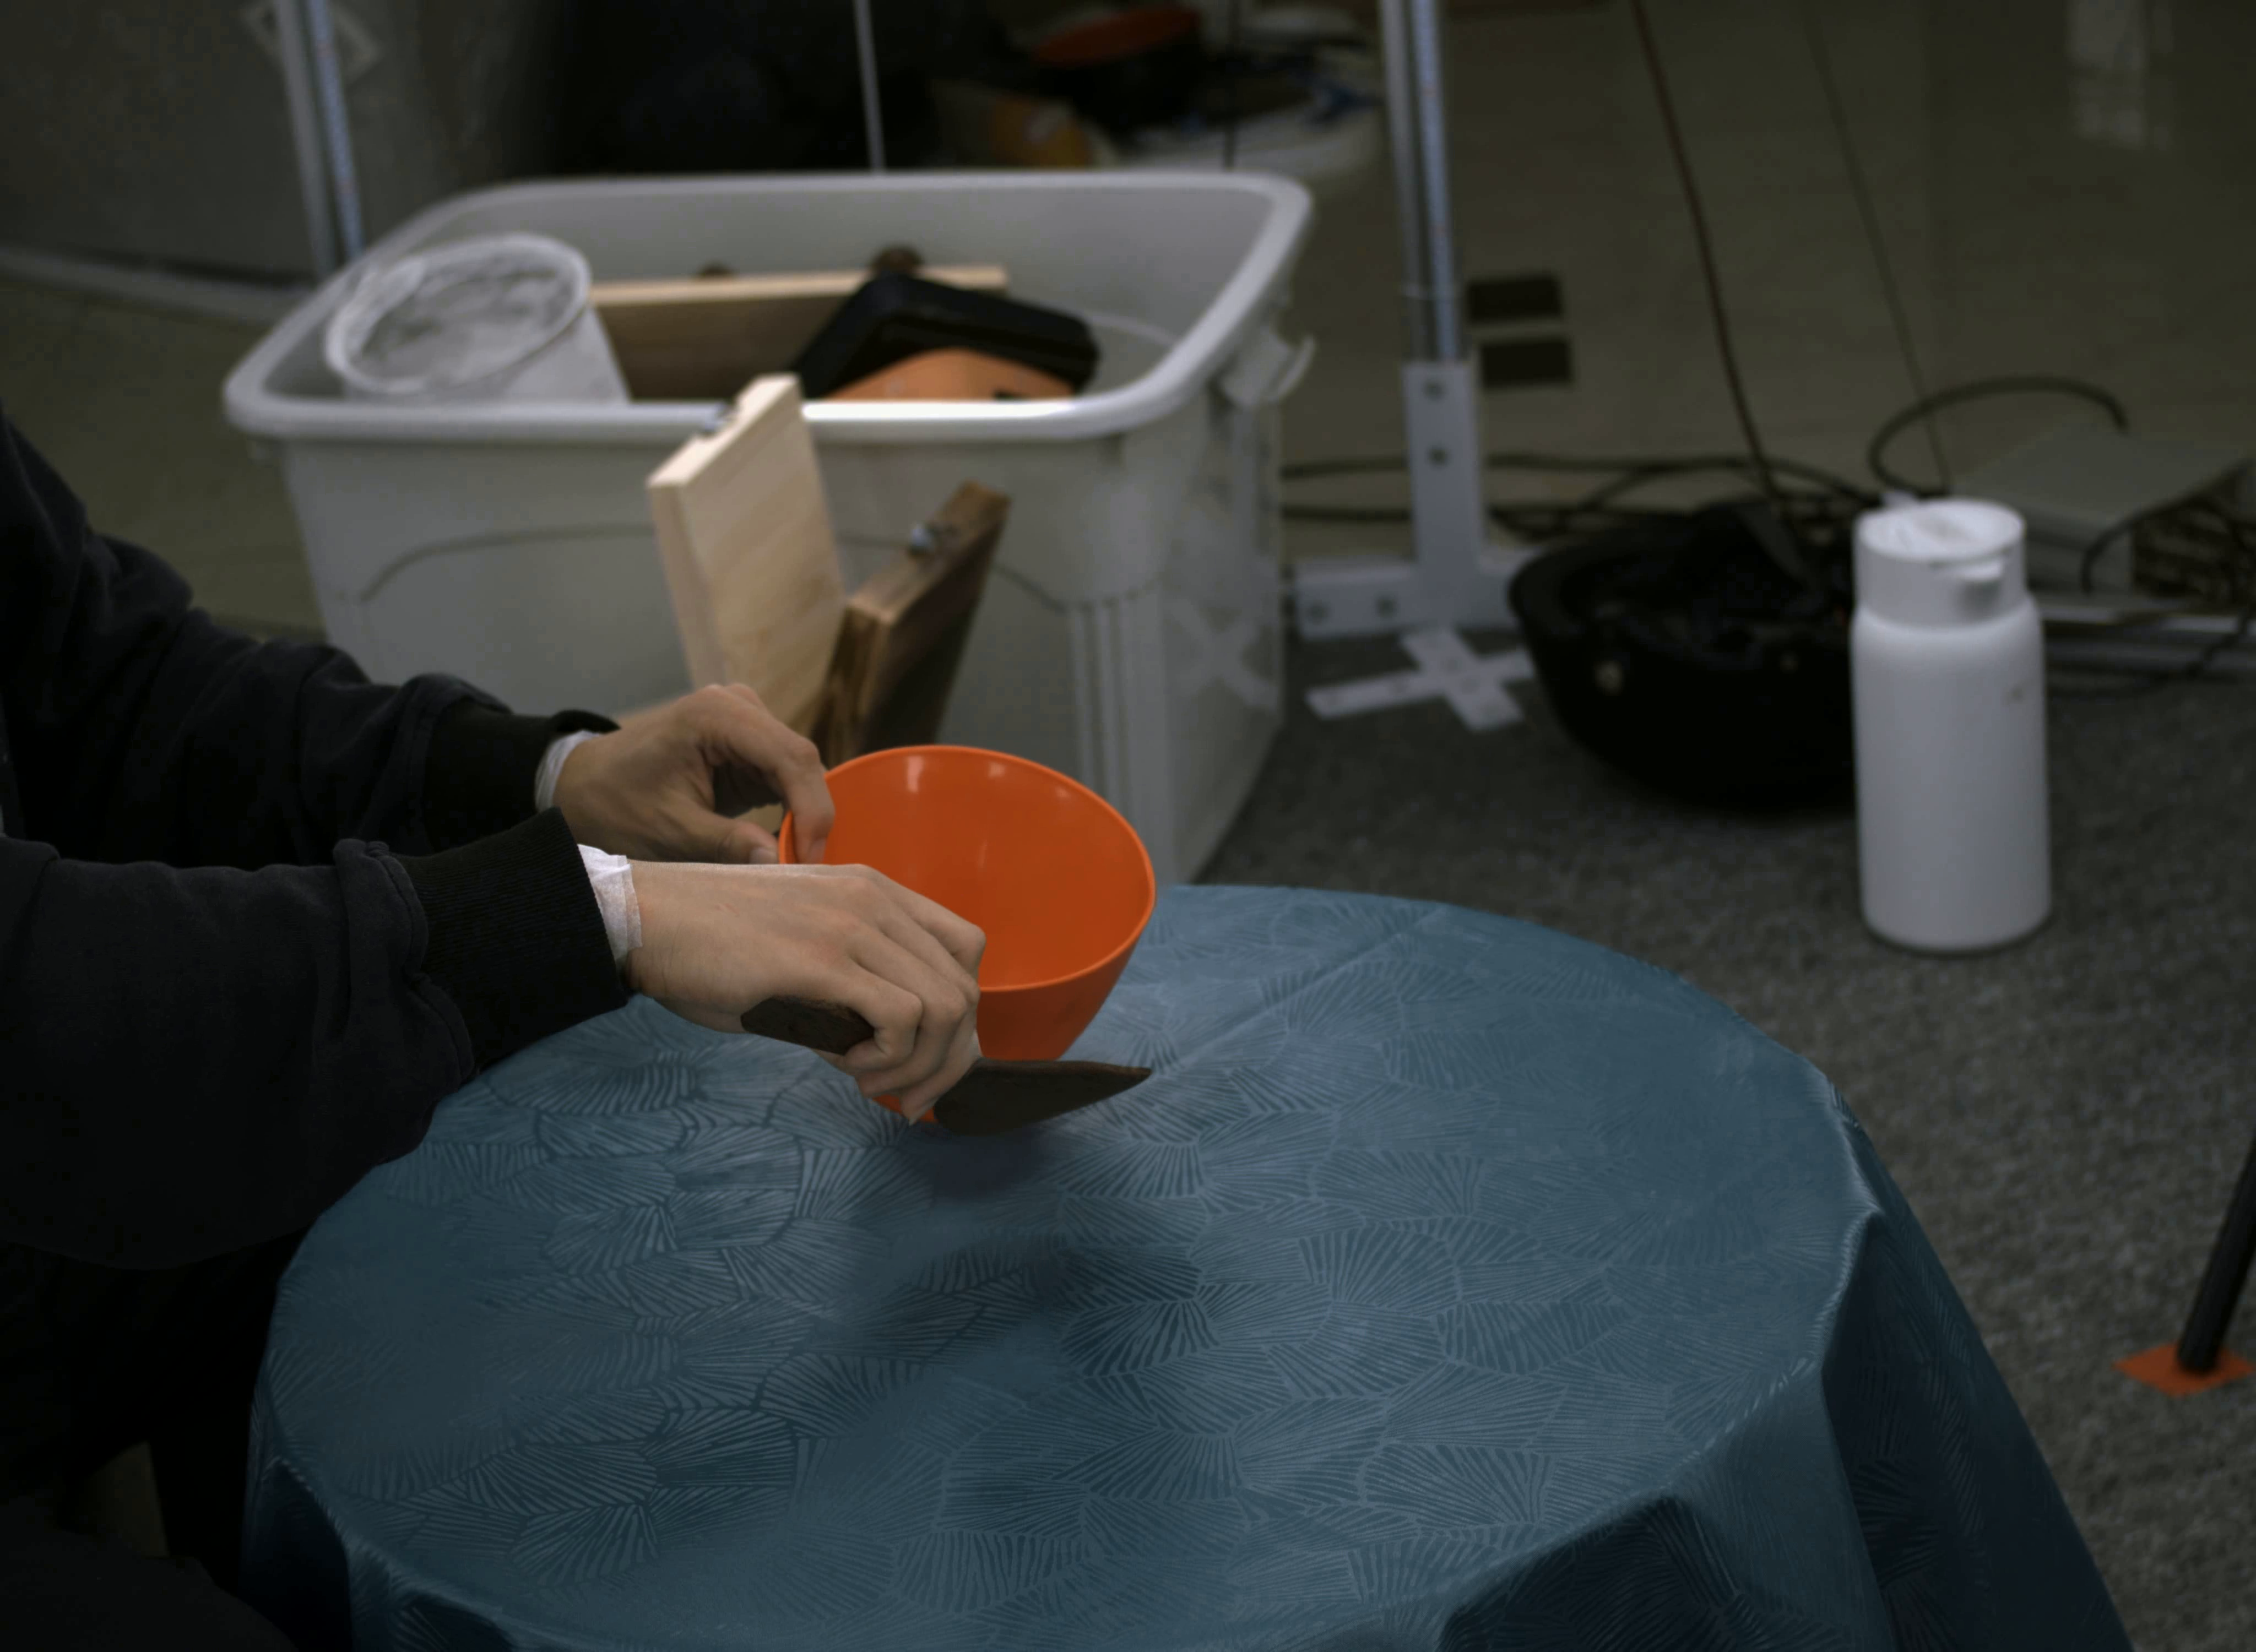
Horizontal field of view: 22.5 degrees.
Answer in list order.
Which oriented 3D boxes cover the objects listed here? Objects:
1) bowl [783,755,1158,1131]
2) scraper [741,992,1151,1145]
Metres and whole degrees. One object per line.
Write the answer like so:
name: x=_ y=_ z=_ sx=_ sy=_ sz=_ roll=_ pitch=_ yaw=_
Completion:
bowl: x=-0.067 y=0.053 z=2.214 sx=0.148 sy=0.106 sz=0.145 roll=8 pitch=29 yaw=-4
scraper: x=-0.070 y=0.085 z=2.022 sx=0.076 sy=0.011 sz=0.213 roll=-24 pitch=-24 yaw=24
